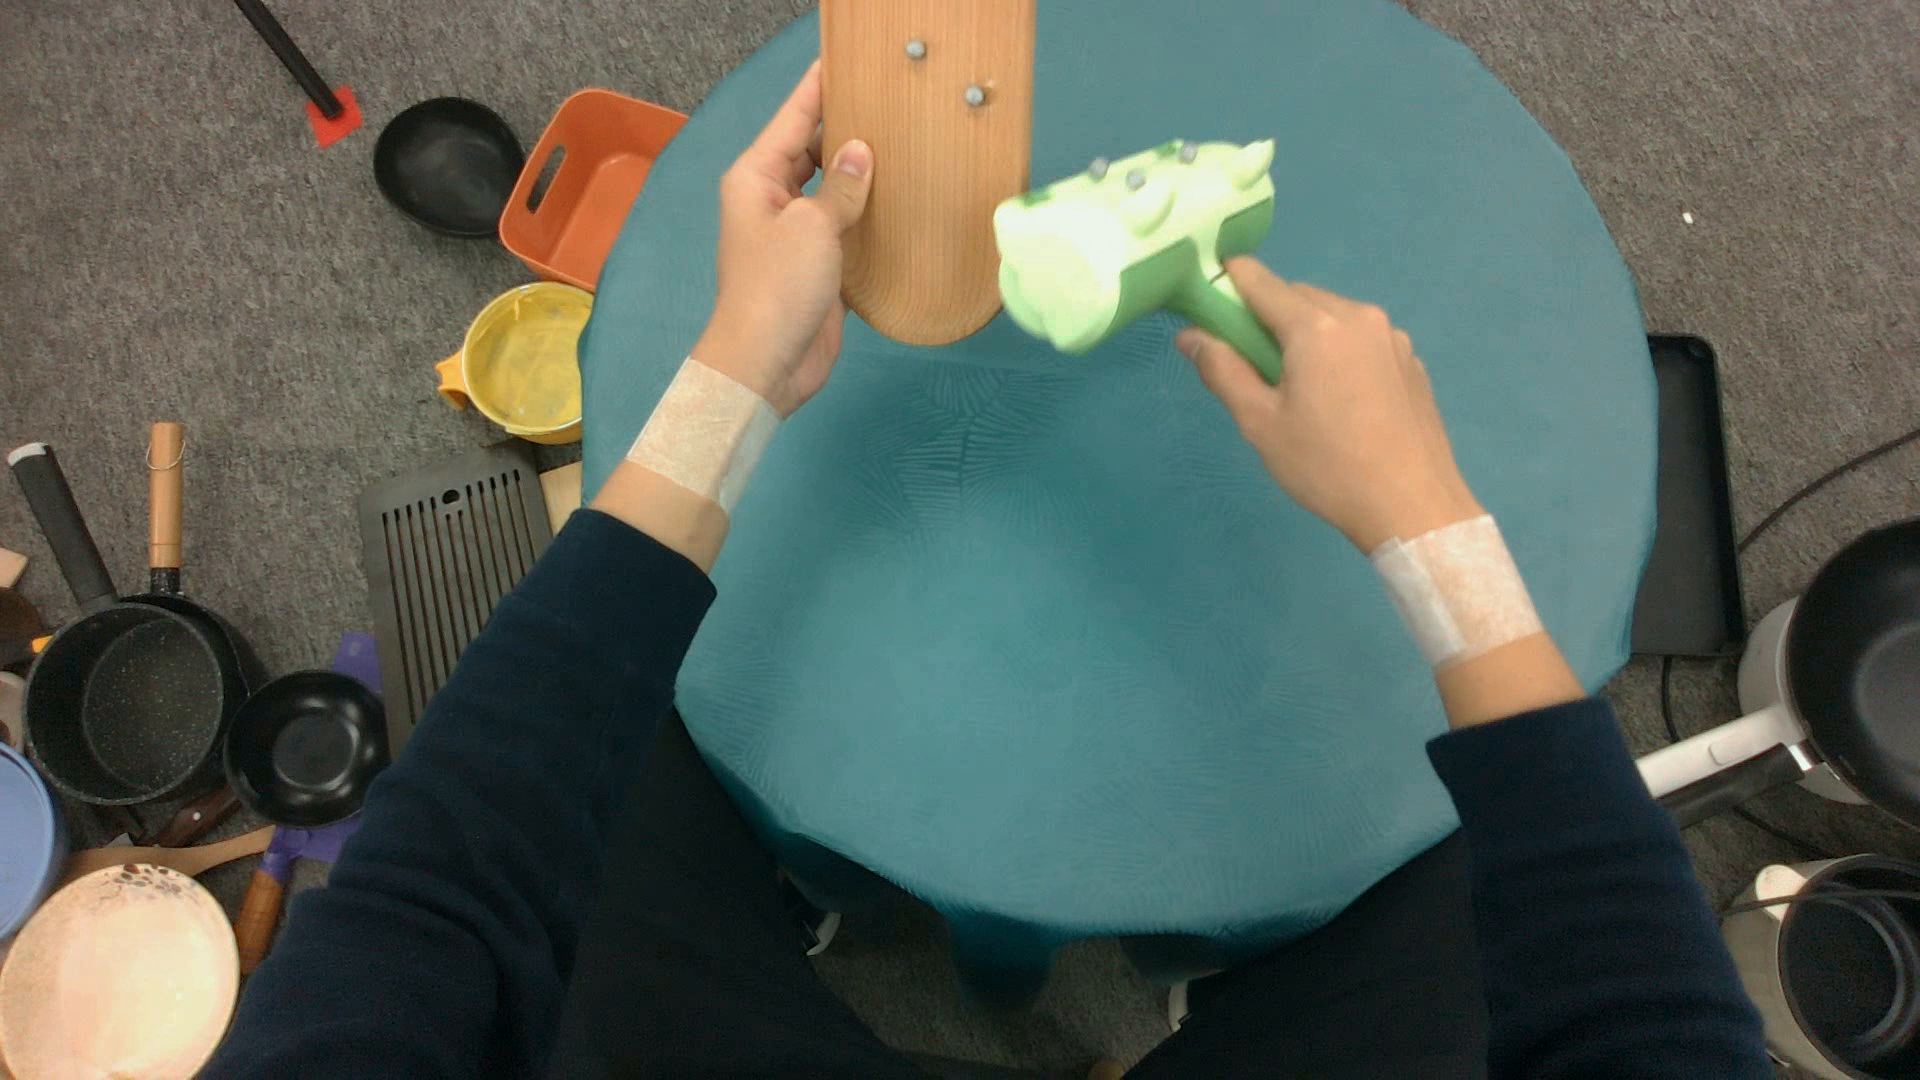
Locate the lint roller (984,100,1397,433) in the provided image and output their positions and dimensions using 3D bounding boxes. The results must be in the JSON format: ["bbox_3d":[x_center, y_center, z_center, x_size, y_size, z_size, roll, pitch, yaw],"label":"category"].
[{"bbox_3d":[0.125,-0.124,0.593,0.183,0.082,0.199,35,36,12],"label":"lint roller"}]

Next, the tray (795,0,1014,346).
[{"bbox_3d":[-0.024,-0.201,0.607,0.101,0.020,0.230,8,111,23],"label":"tray"}]
